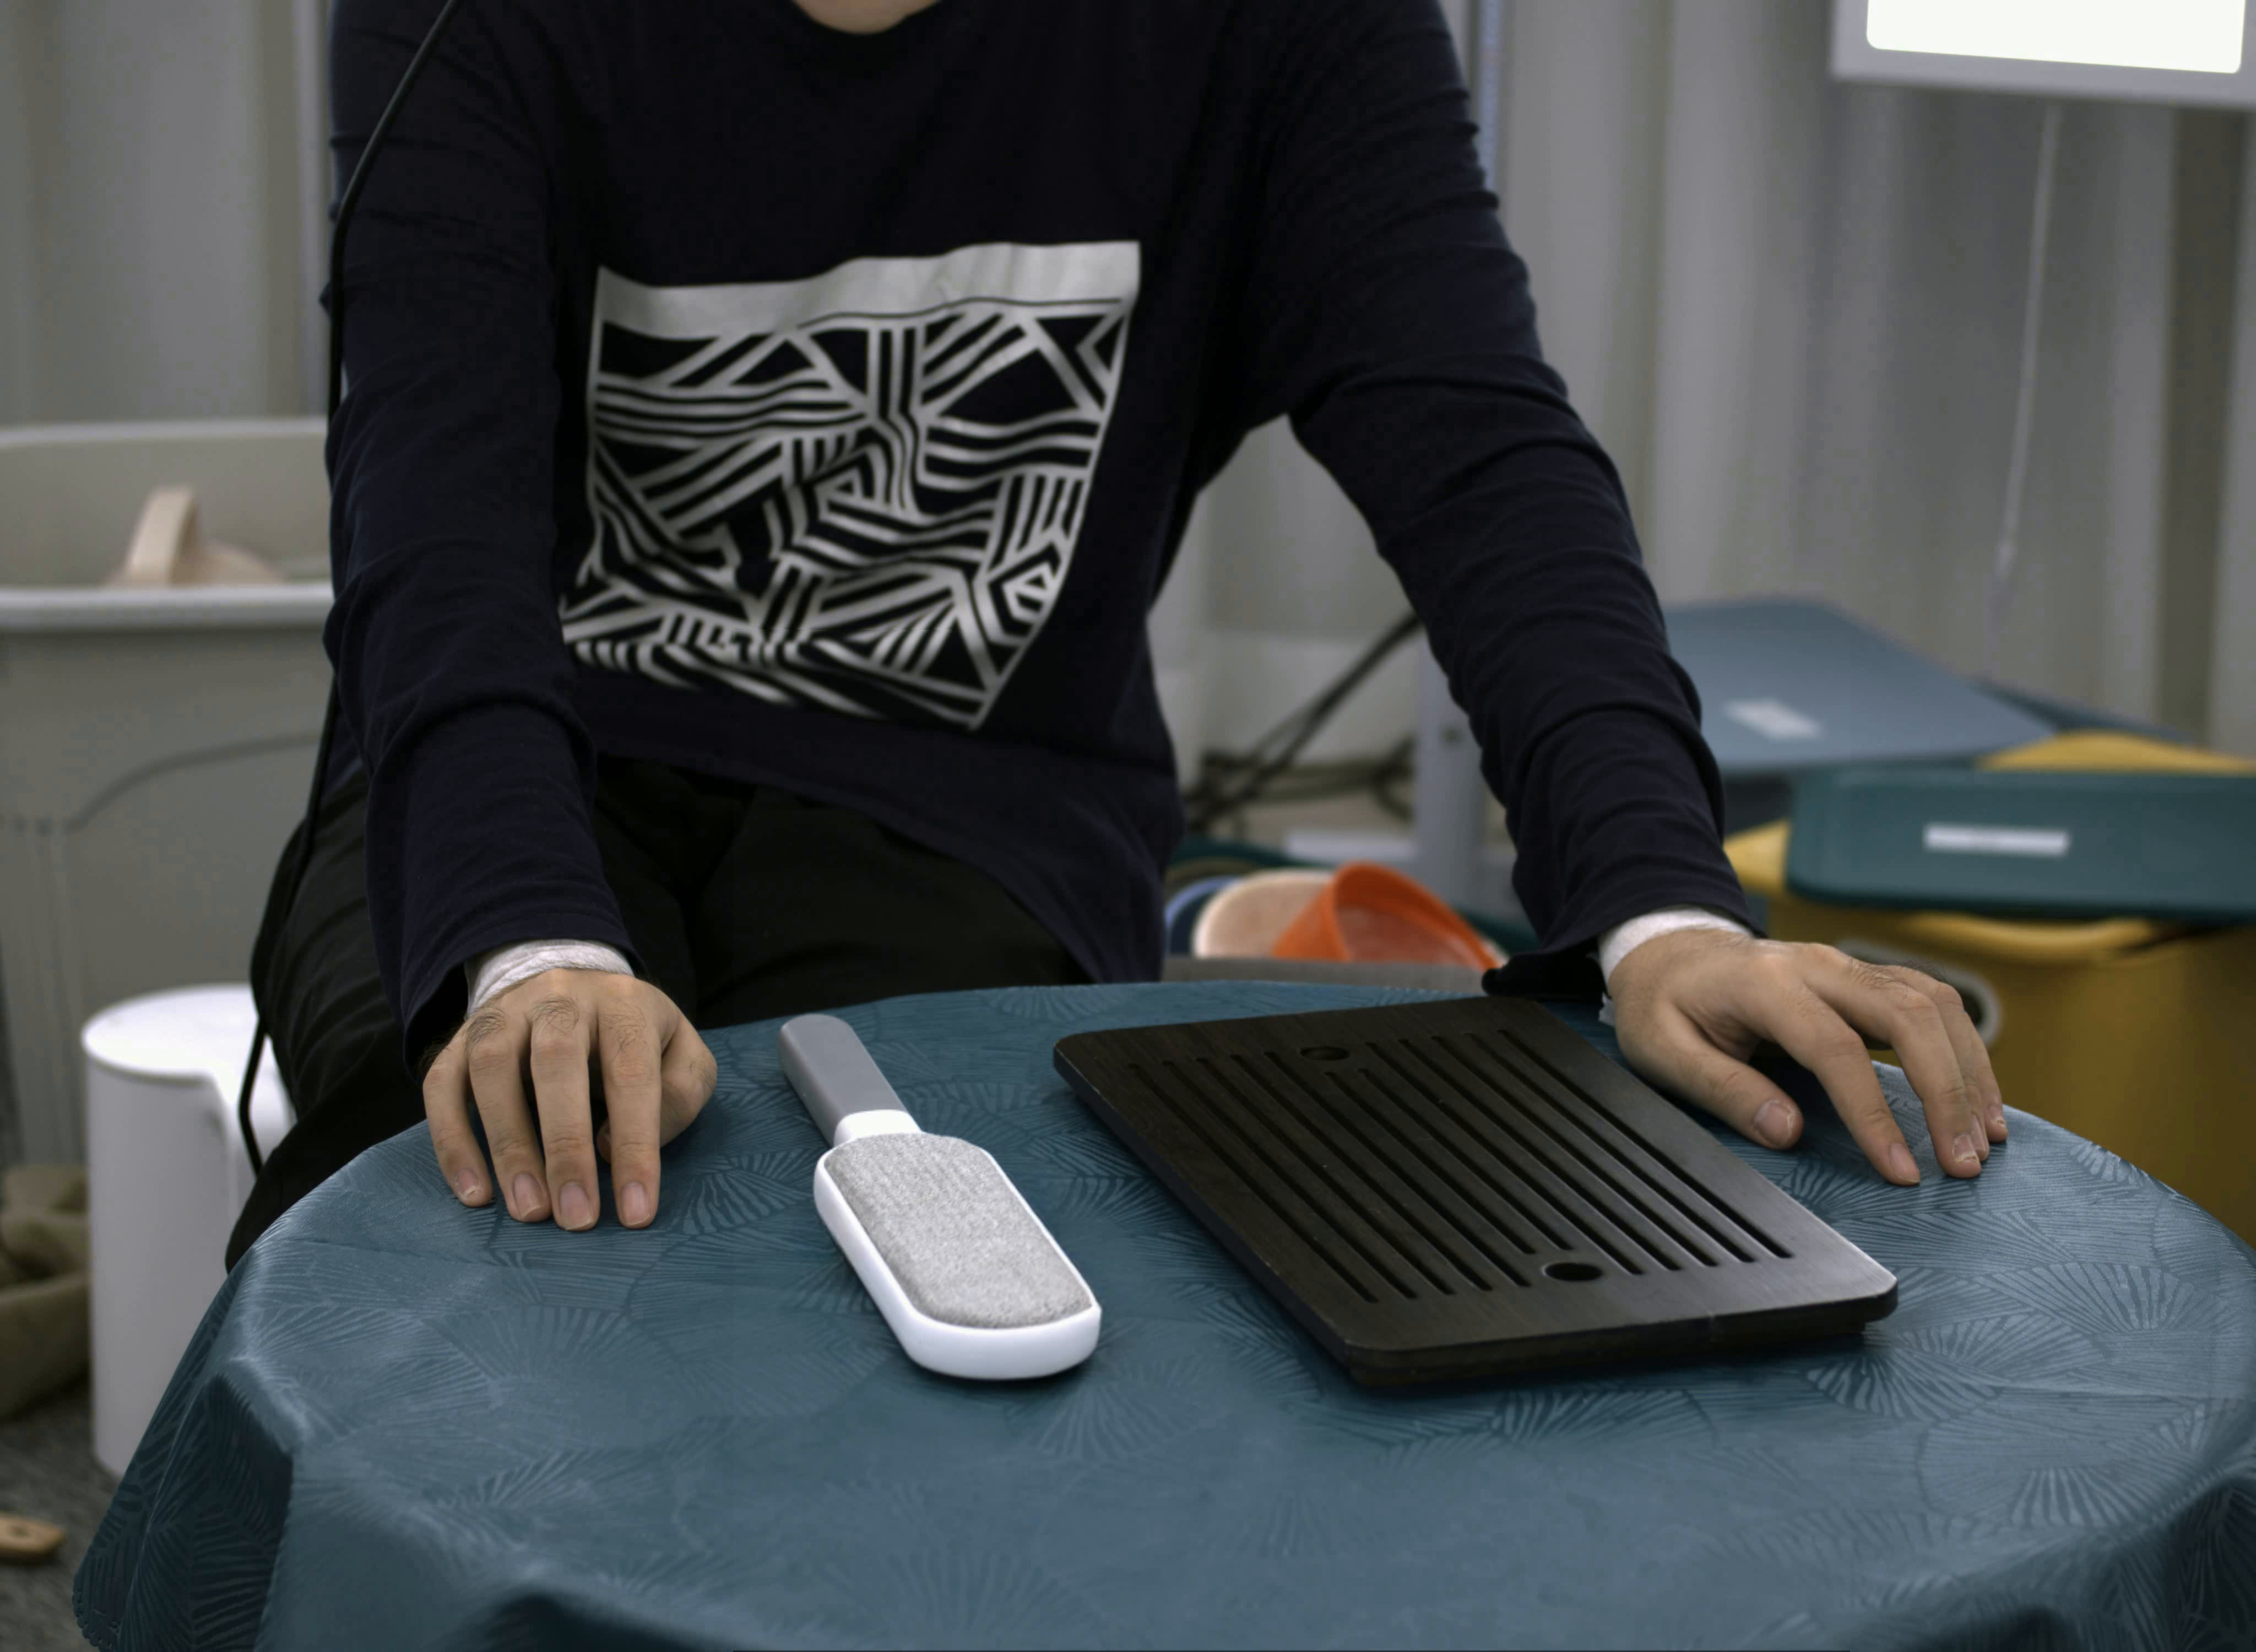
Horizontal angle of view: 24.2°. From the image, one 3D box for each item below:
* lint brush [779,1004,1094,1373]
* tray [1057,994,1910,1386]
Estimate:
[{"bbox_3d":[-0.066,0.105,1.597,0.060,0.021,0.306,-8,17,-12],"label":"lint brush"},{"bbox_3d":[0.100,0.108,1.613,0.170,0.019,0.302,-5,16,-18],"label":"tray"}]
